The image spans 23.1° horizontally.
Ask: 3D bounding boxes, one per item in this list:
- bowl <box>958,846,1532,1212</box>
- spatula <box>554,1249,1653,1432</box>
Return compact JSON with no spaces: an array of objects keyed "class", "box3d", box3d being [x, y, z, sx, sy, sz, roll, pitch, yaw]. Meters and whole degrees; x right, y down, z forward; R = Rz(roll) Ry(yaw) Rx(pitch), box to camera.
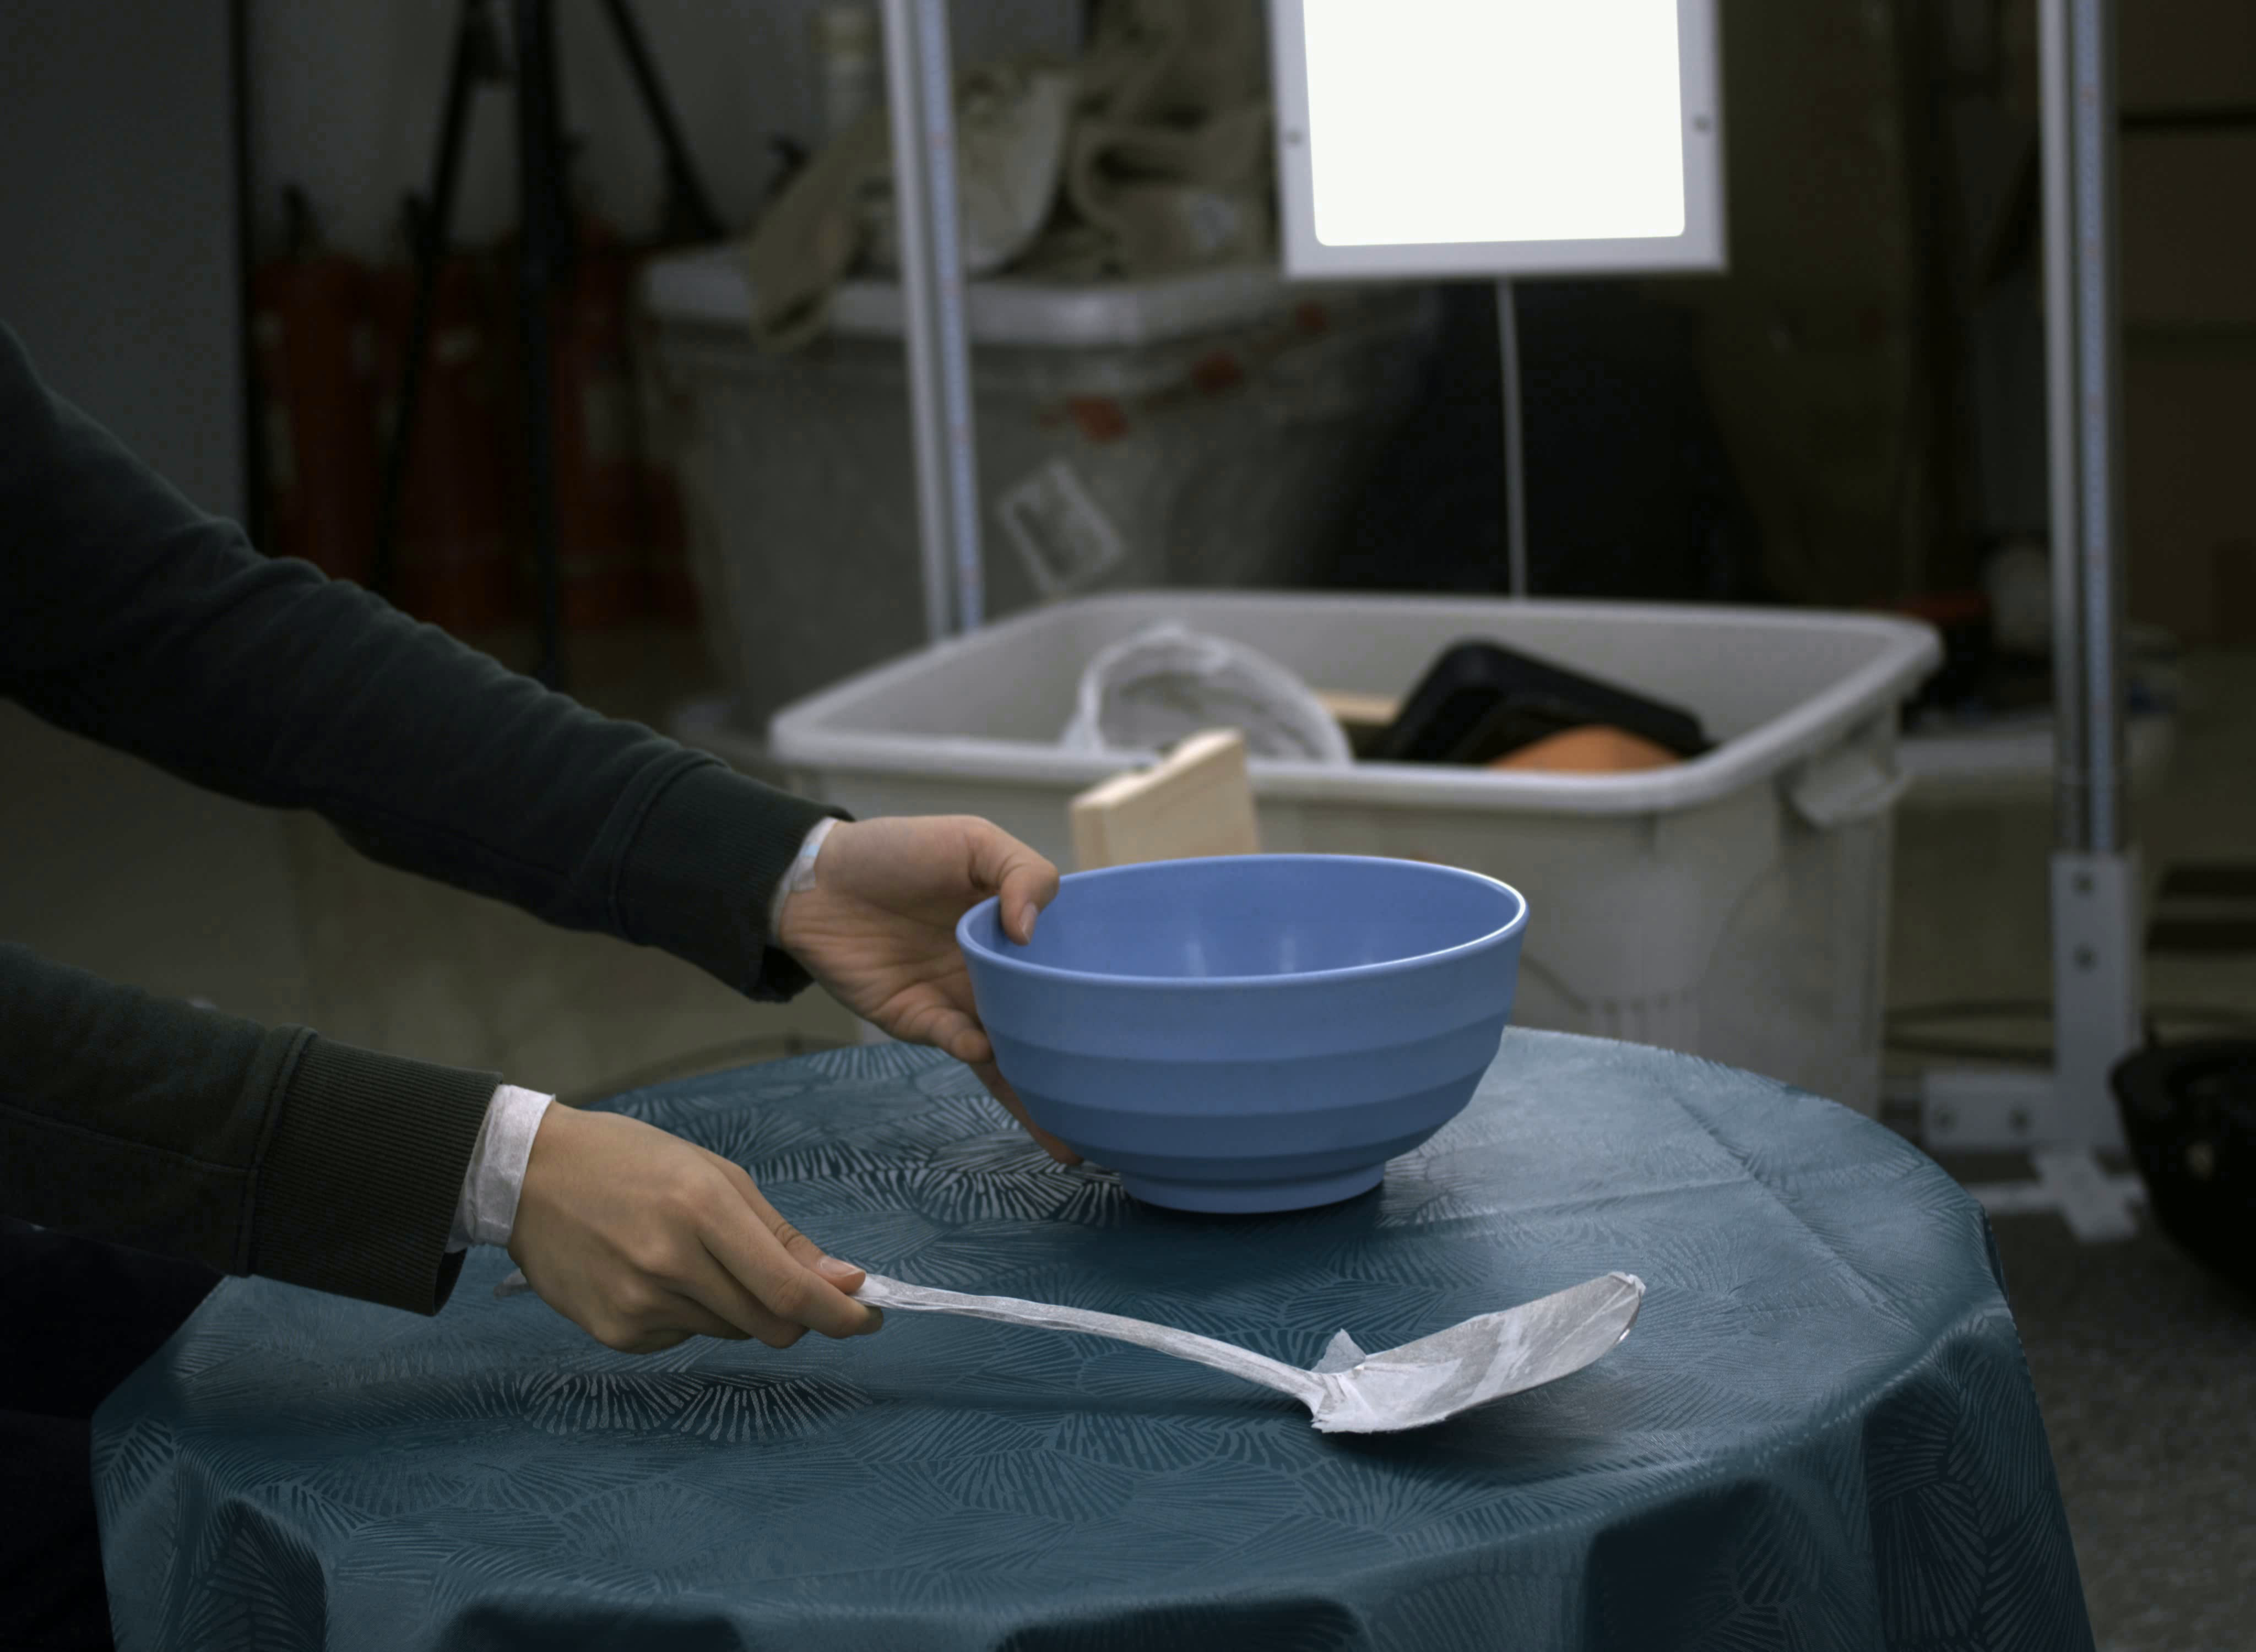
[{"class":"bowl","box3d":[0.041,0.074,1.884,0.196,0.096,0.196,-3,13,-1]},{"class":"spatula","box3d":[-0.019,0.146,1.699,0.370,0.045,0.097,7,20,21]}]
